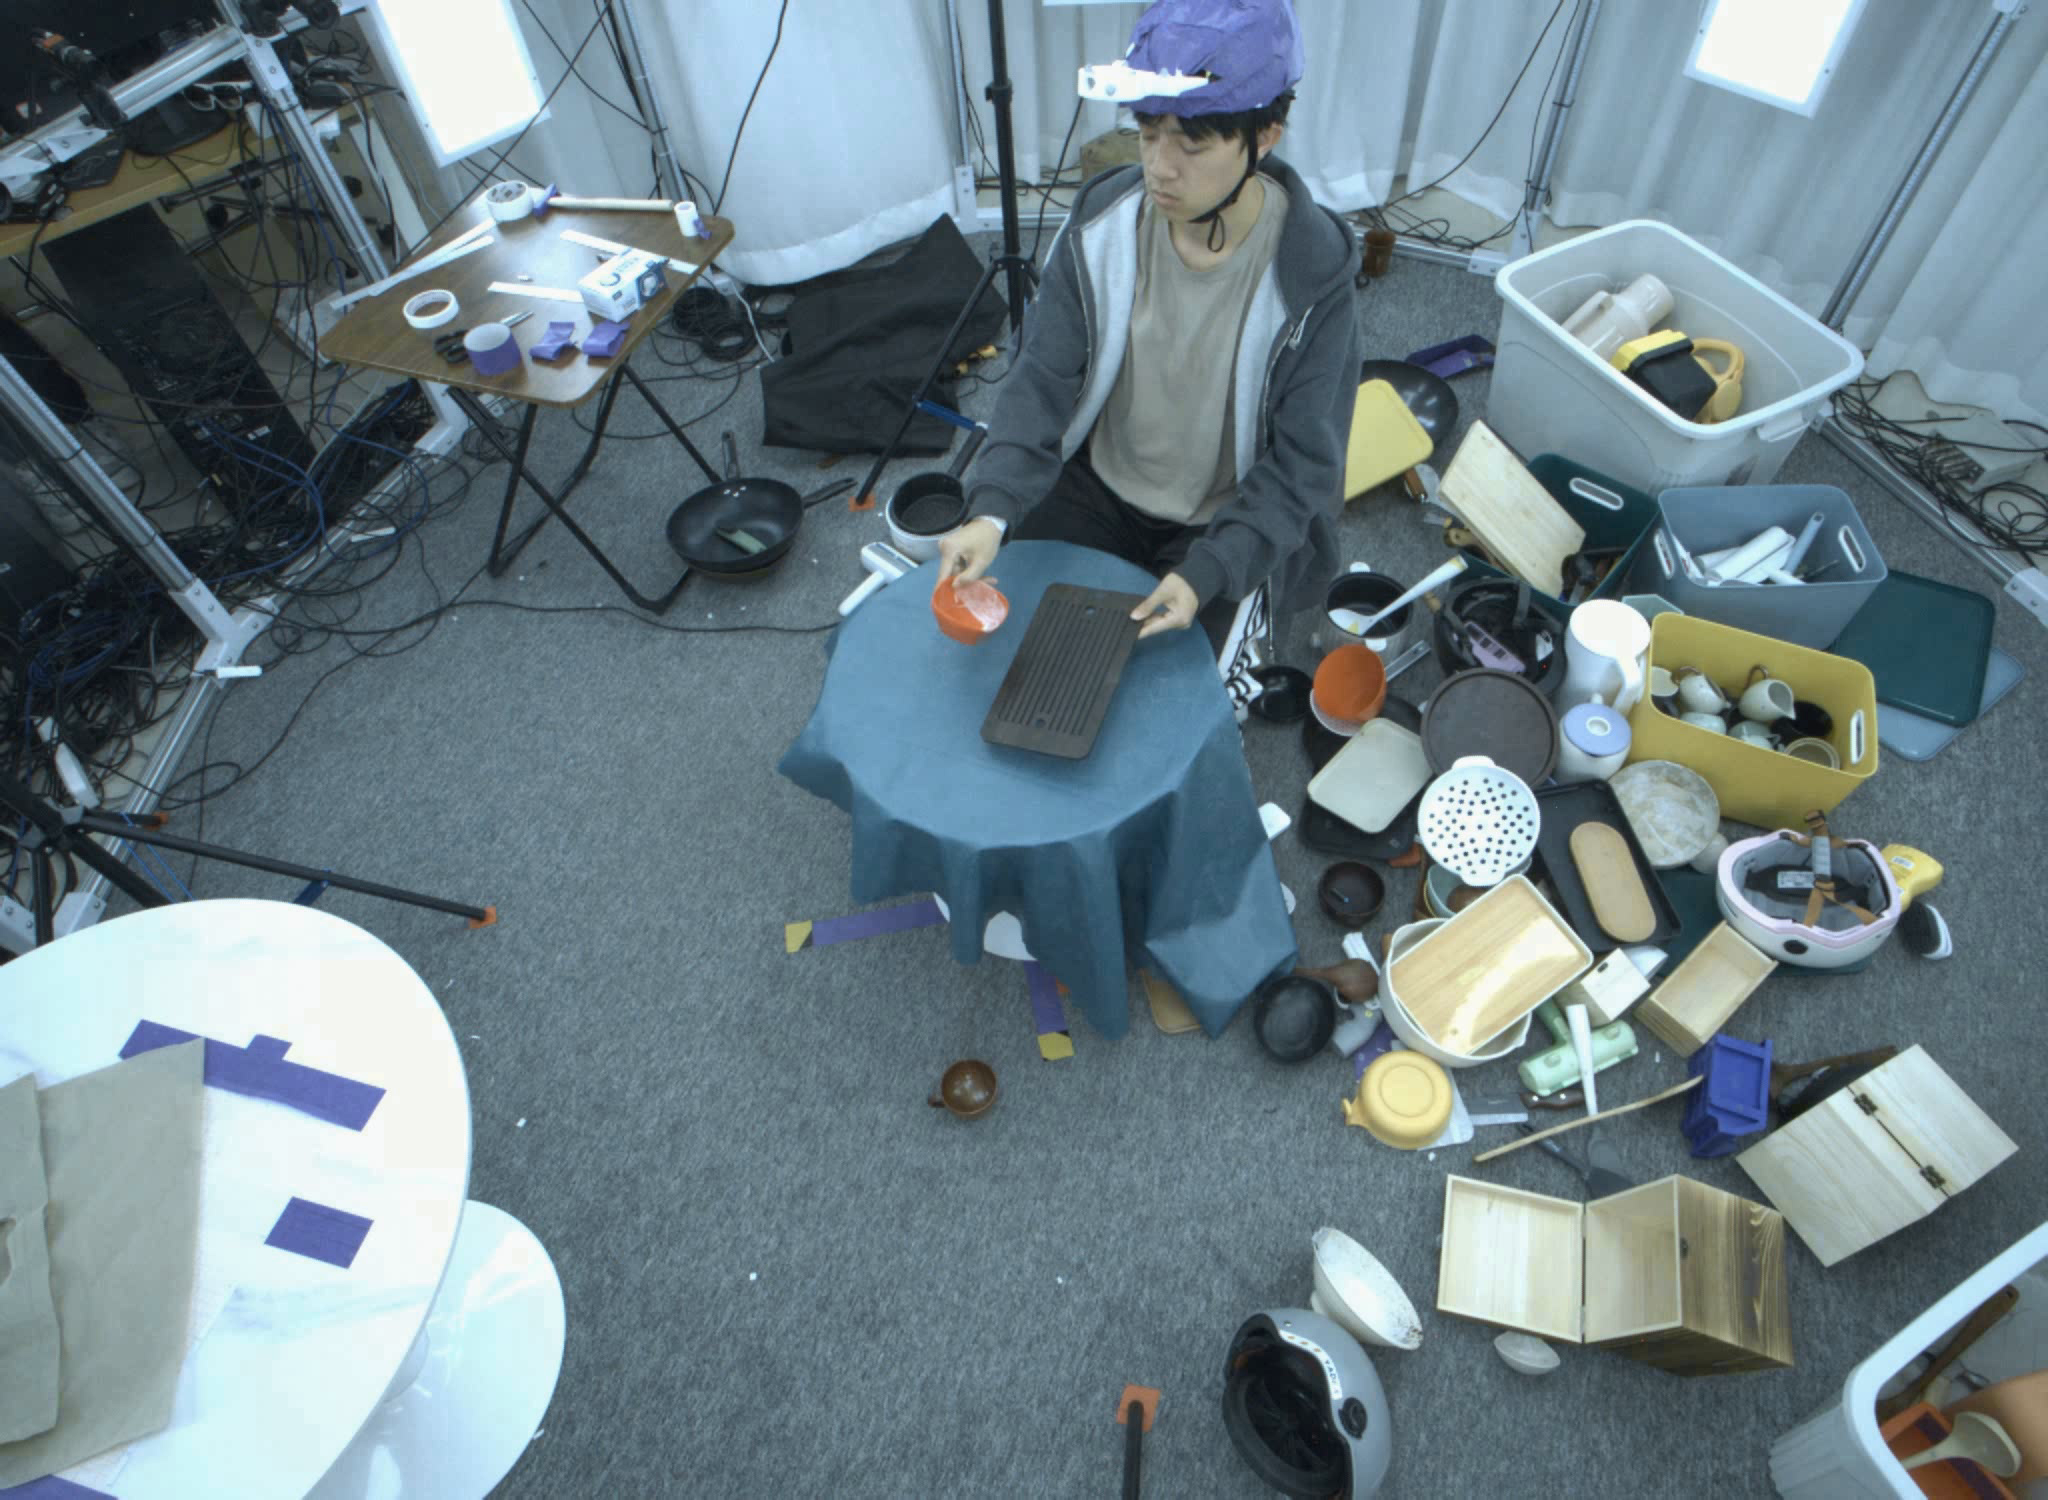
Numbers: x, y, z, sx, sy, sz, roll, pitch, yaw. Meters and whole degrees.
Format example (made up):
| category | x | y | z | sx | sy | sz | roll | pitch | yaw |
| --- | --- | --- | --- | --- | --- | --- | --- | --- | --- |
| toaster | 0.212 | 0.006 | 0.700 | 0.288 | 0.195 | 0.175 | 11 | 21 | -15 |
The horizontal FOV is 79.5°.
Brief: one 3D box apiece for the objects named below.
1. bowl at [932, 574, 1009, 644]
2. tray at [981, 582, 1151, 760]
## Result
| category | x | y | z | sx | sy | sz | roll | pitch | yaw |
| --- | --- | --- | --- | --- | --- | --- | --- | --- | --- |
| bowl | -0.083 | -0.199 | 1.781 | 0.120 | 0.051 | 0.117 | 14 | 44 | -12 |
| tray | 0.065 | -0.122 | 1.814 | 0.168 | 0.019 | 0.305 | 12 | 59 | 20 |
